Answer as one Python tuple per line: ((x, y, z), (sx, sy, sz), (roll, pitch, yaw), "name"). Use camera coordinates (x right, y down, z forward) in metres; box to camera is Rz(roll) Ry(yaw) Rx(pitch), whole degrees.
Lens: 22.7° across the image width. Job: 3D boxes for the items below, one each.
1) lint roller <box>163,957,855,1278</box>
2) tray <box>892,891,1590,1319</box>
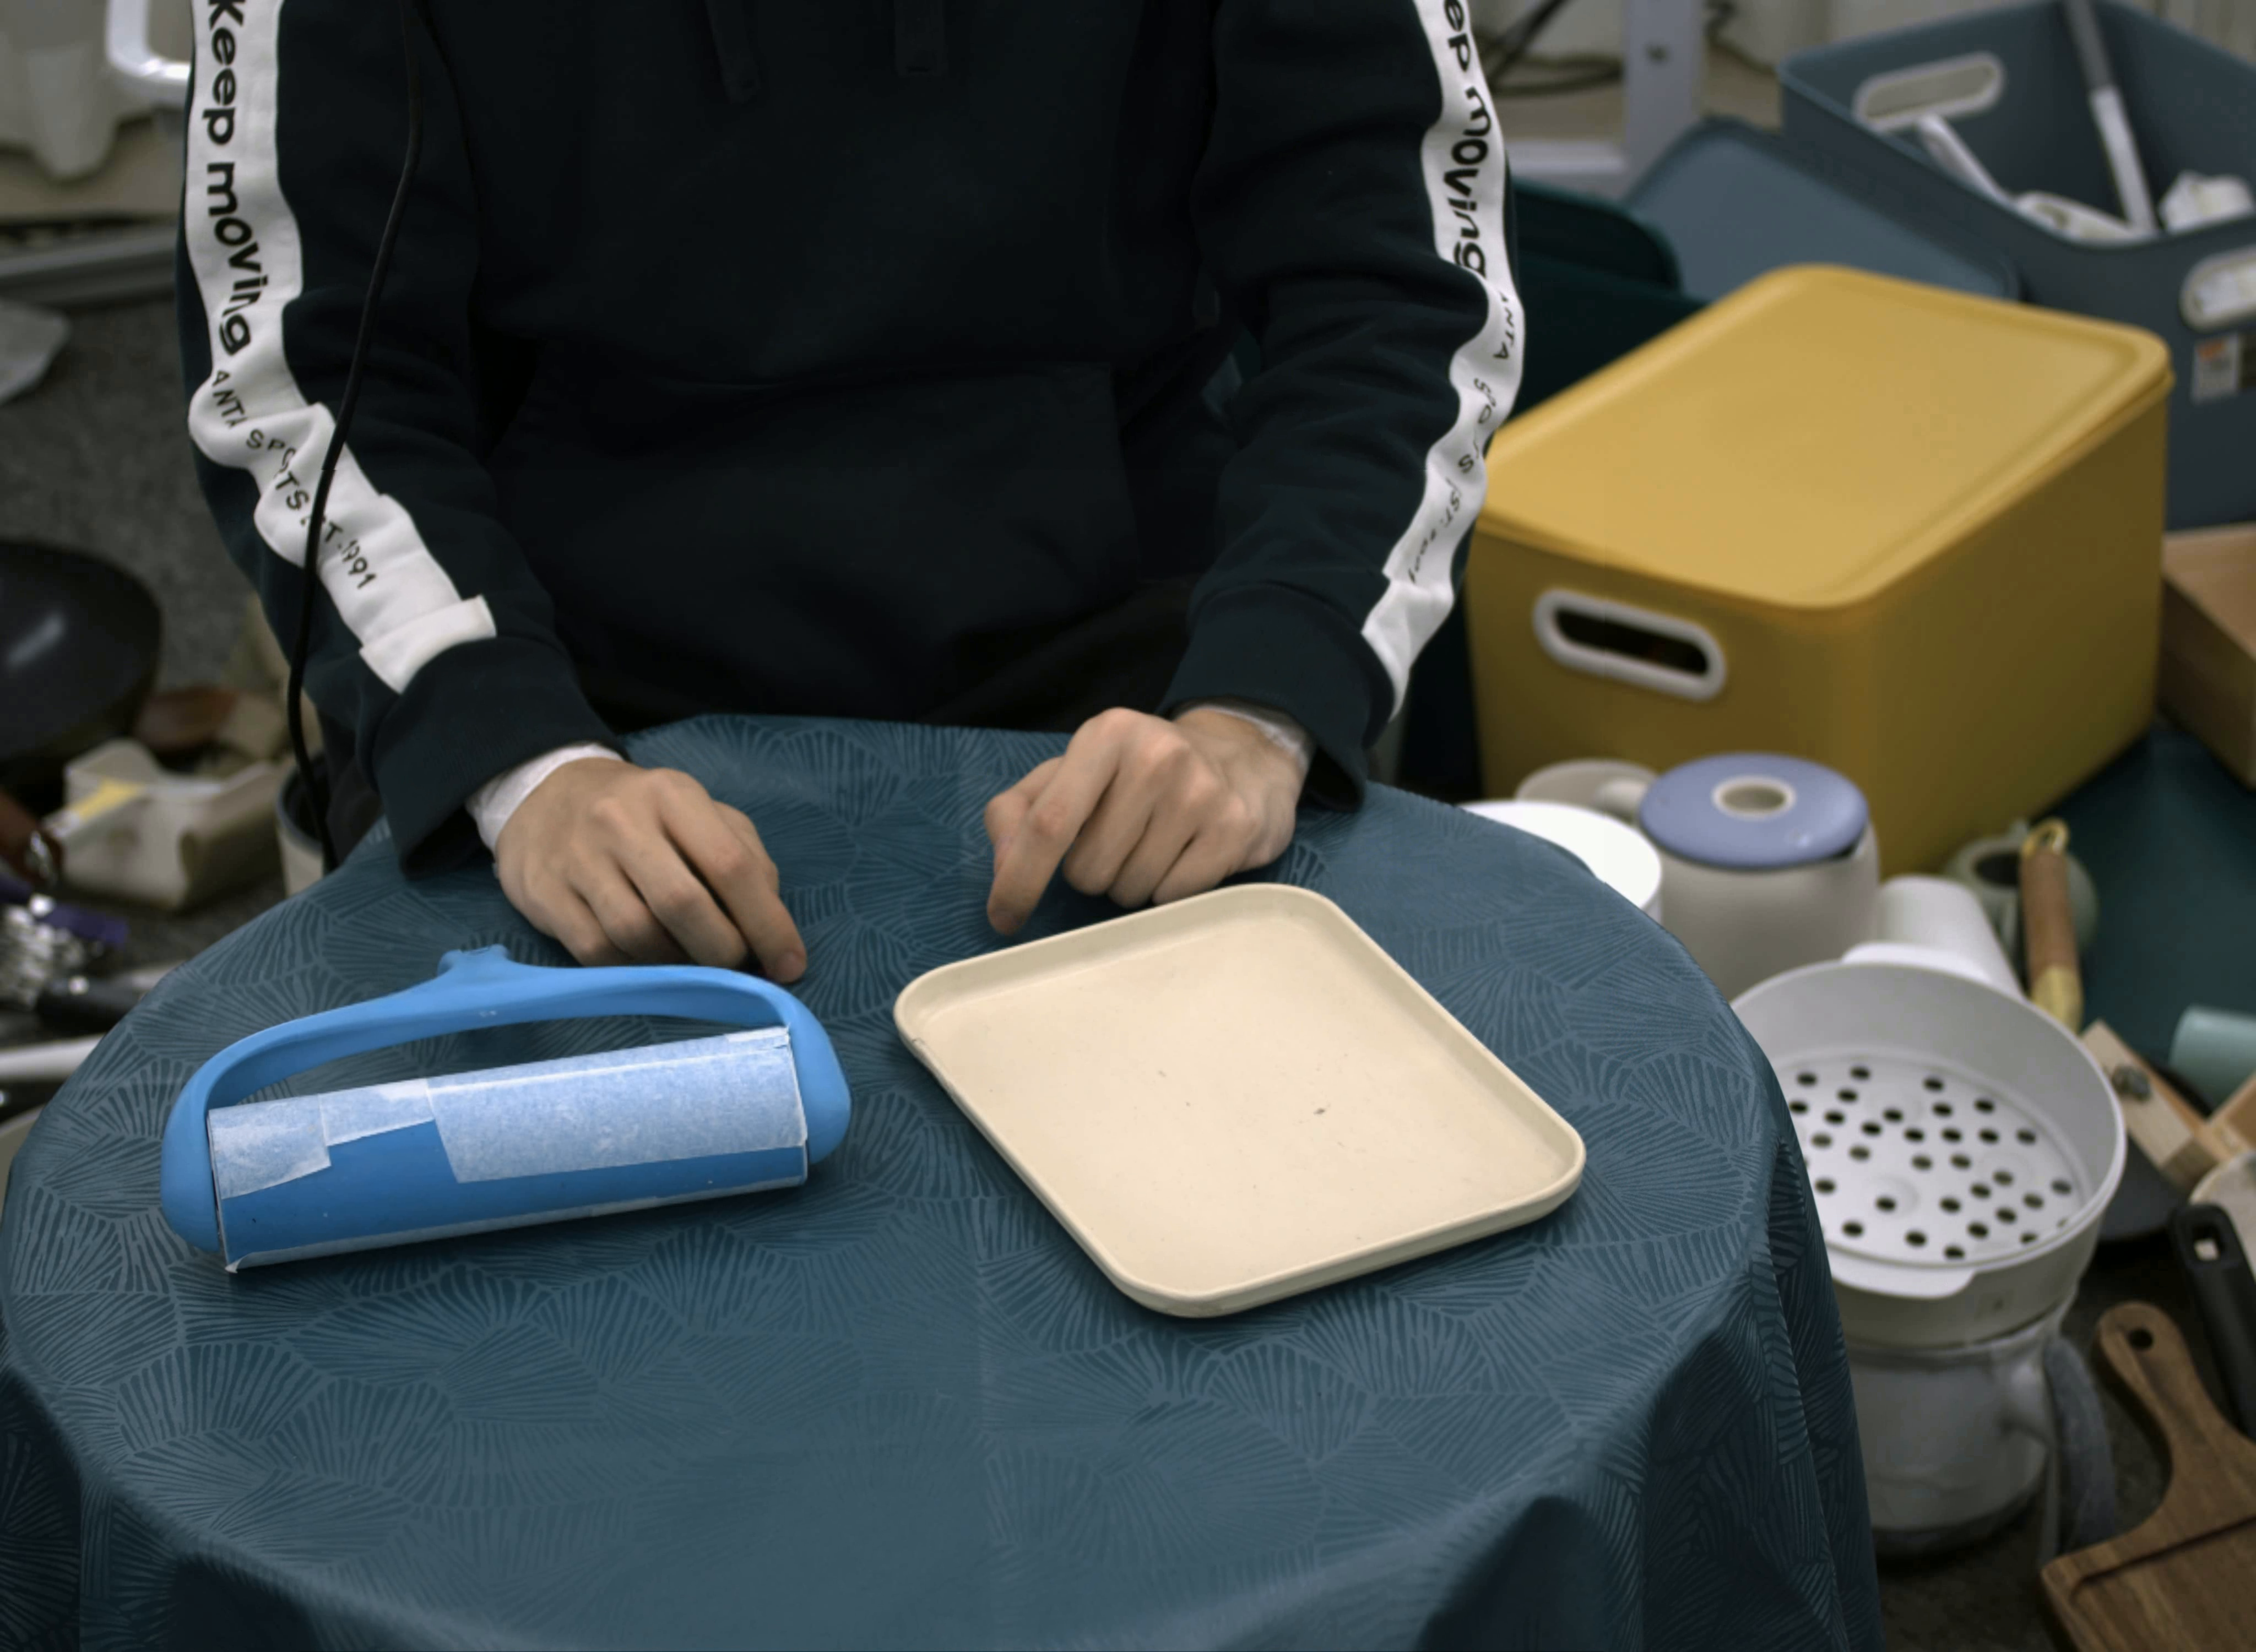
((-0.218, 0.080, 1.901), (0.229, 0.067, 0.182), (-10, 29, -11), "lint roller")
((0.035, 0.092, 1.894), (0.172, 0.017, 0.241), (-14, 29, -21), "tray")
